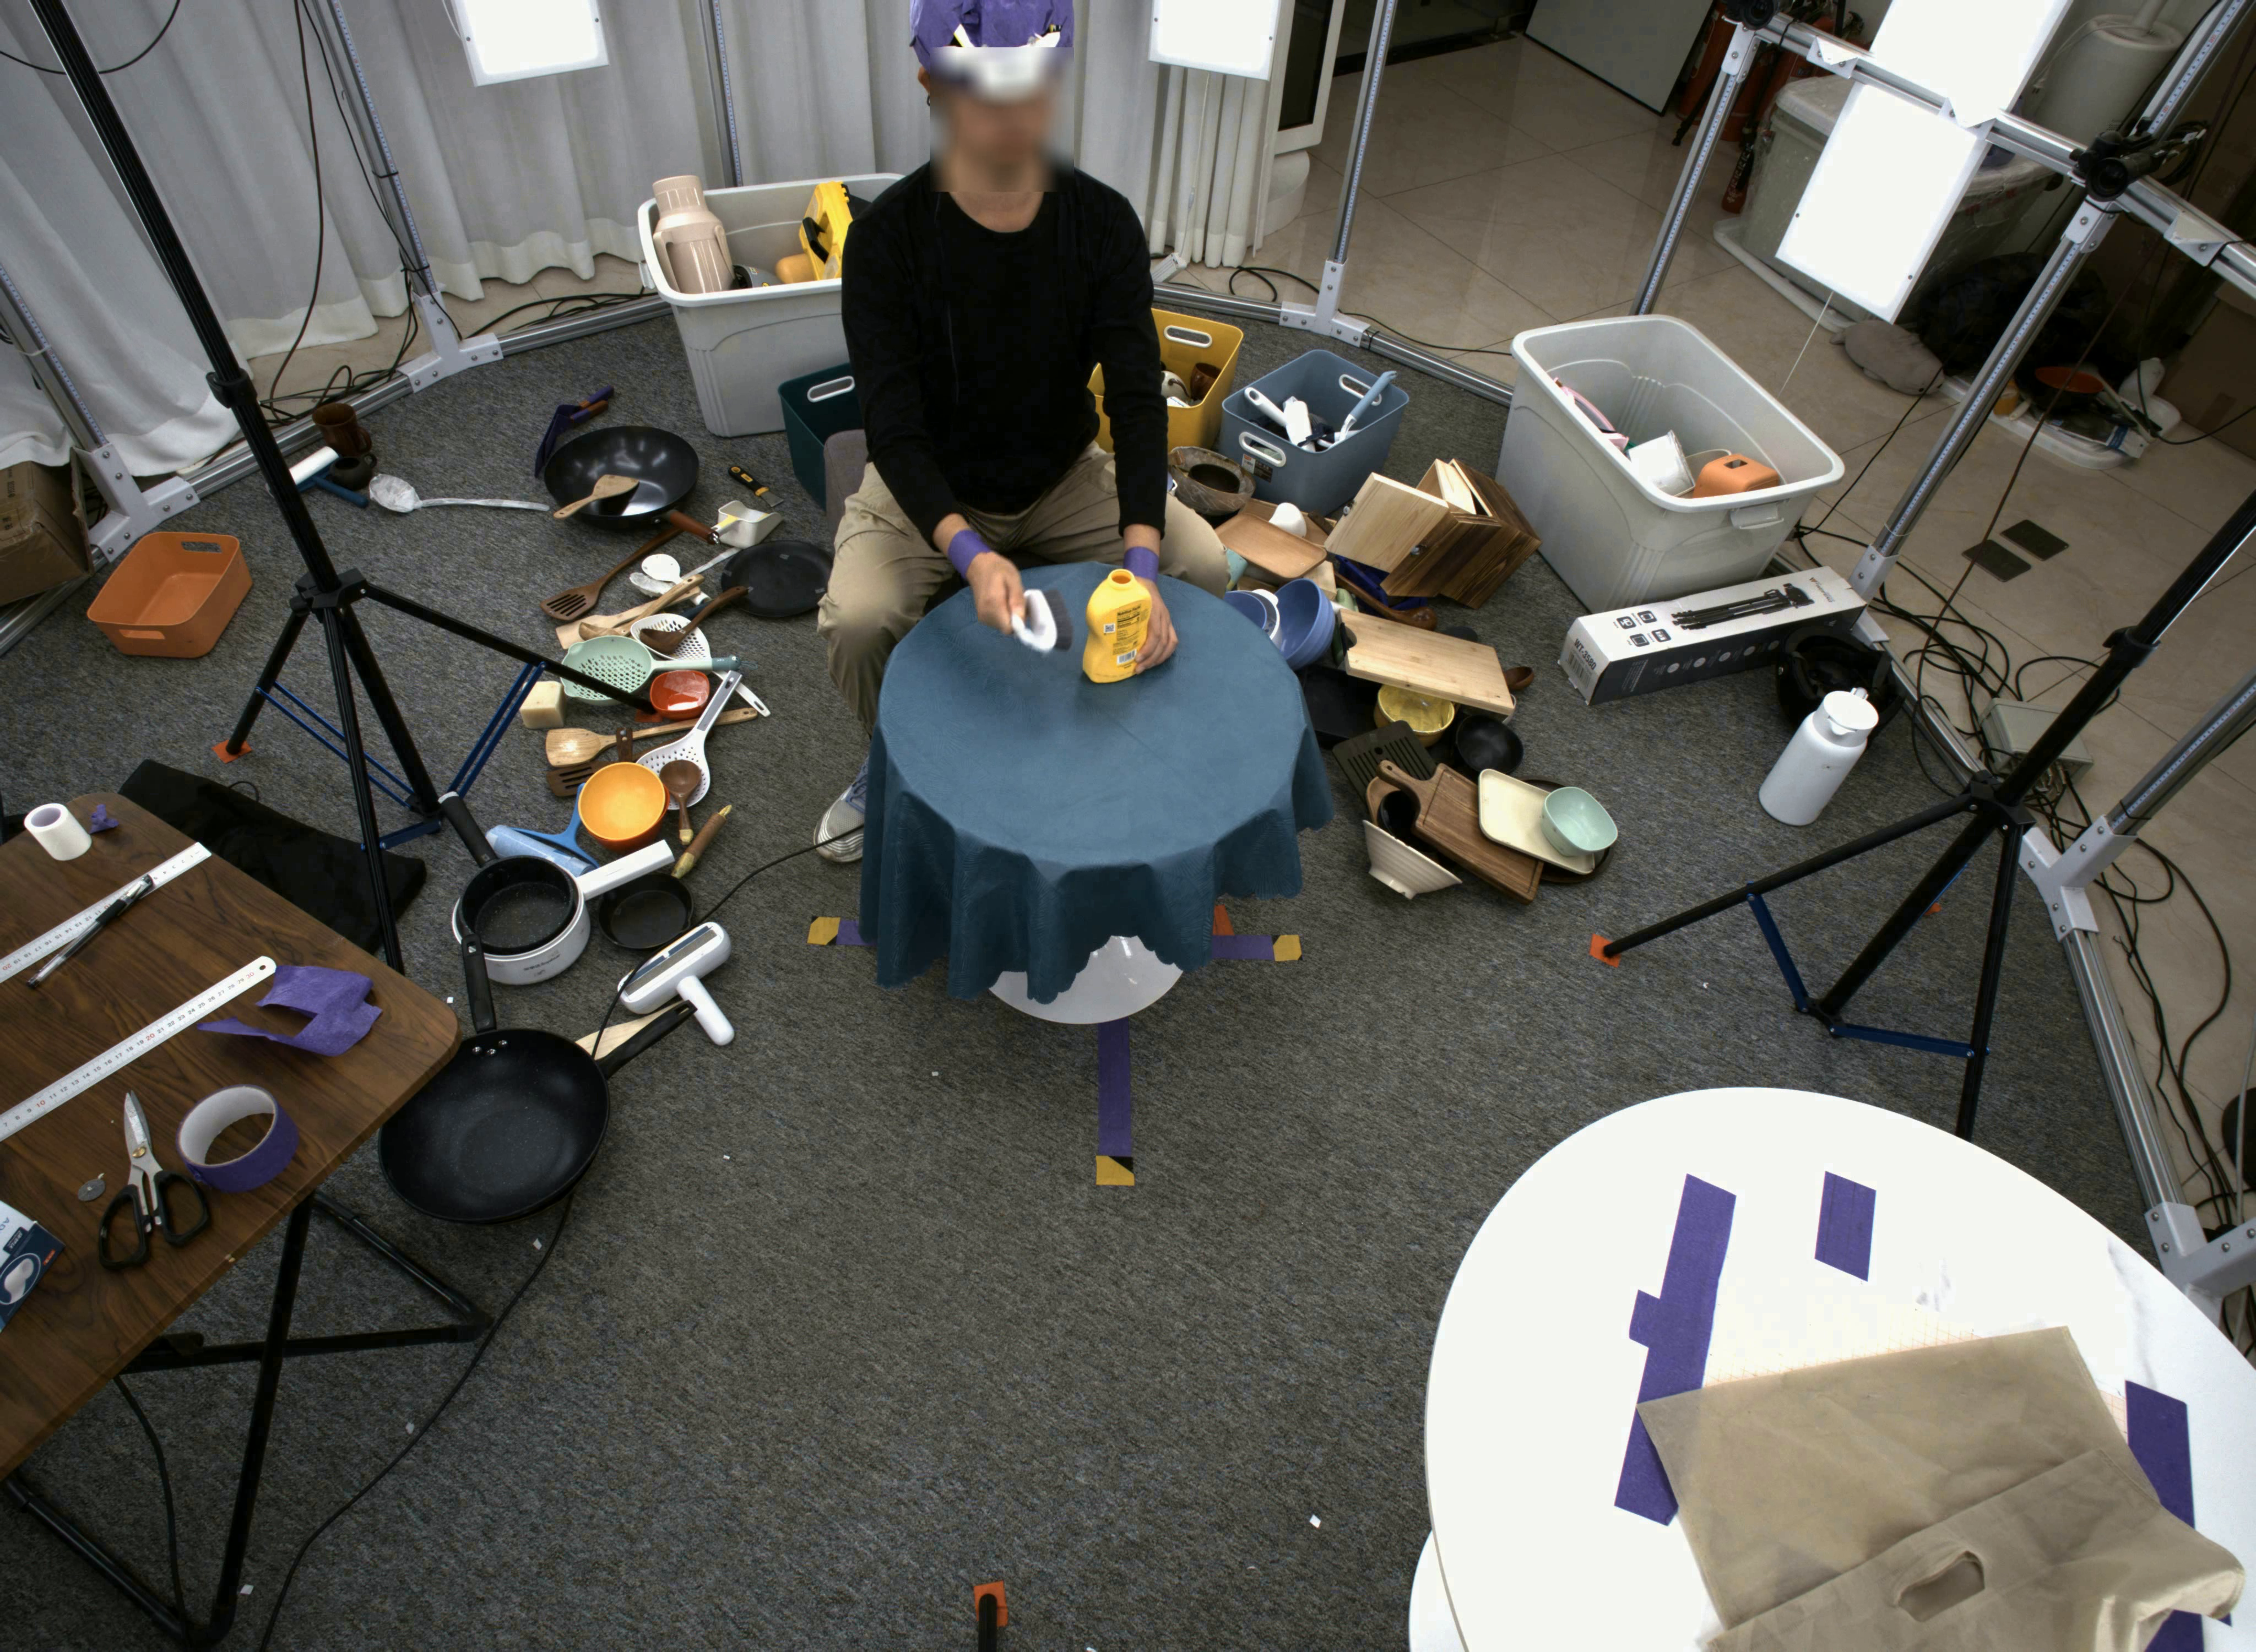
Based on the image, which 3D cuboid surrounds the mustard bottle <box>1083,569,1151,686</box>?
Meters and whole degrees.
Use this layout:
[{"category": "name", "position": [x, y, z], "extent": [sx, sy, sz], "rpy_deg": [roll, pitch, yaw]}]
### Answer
[{"category": "mustard bottle", "position": [-0.015, -0.280, 1.800], "extent": [0.098, 0.168, 0.060], "rpy_deg": [-25, 52, -23]}]

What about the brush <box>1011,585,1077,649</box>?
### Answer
[{"category": "brush", "position": [-0.120, -0.285, 1.750], "extent": [0.072, 0.049, 0.101], "rpy_deg": [-6, 56, -27]}]
